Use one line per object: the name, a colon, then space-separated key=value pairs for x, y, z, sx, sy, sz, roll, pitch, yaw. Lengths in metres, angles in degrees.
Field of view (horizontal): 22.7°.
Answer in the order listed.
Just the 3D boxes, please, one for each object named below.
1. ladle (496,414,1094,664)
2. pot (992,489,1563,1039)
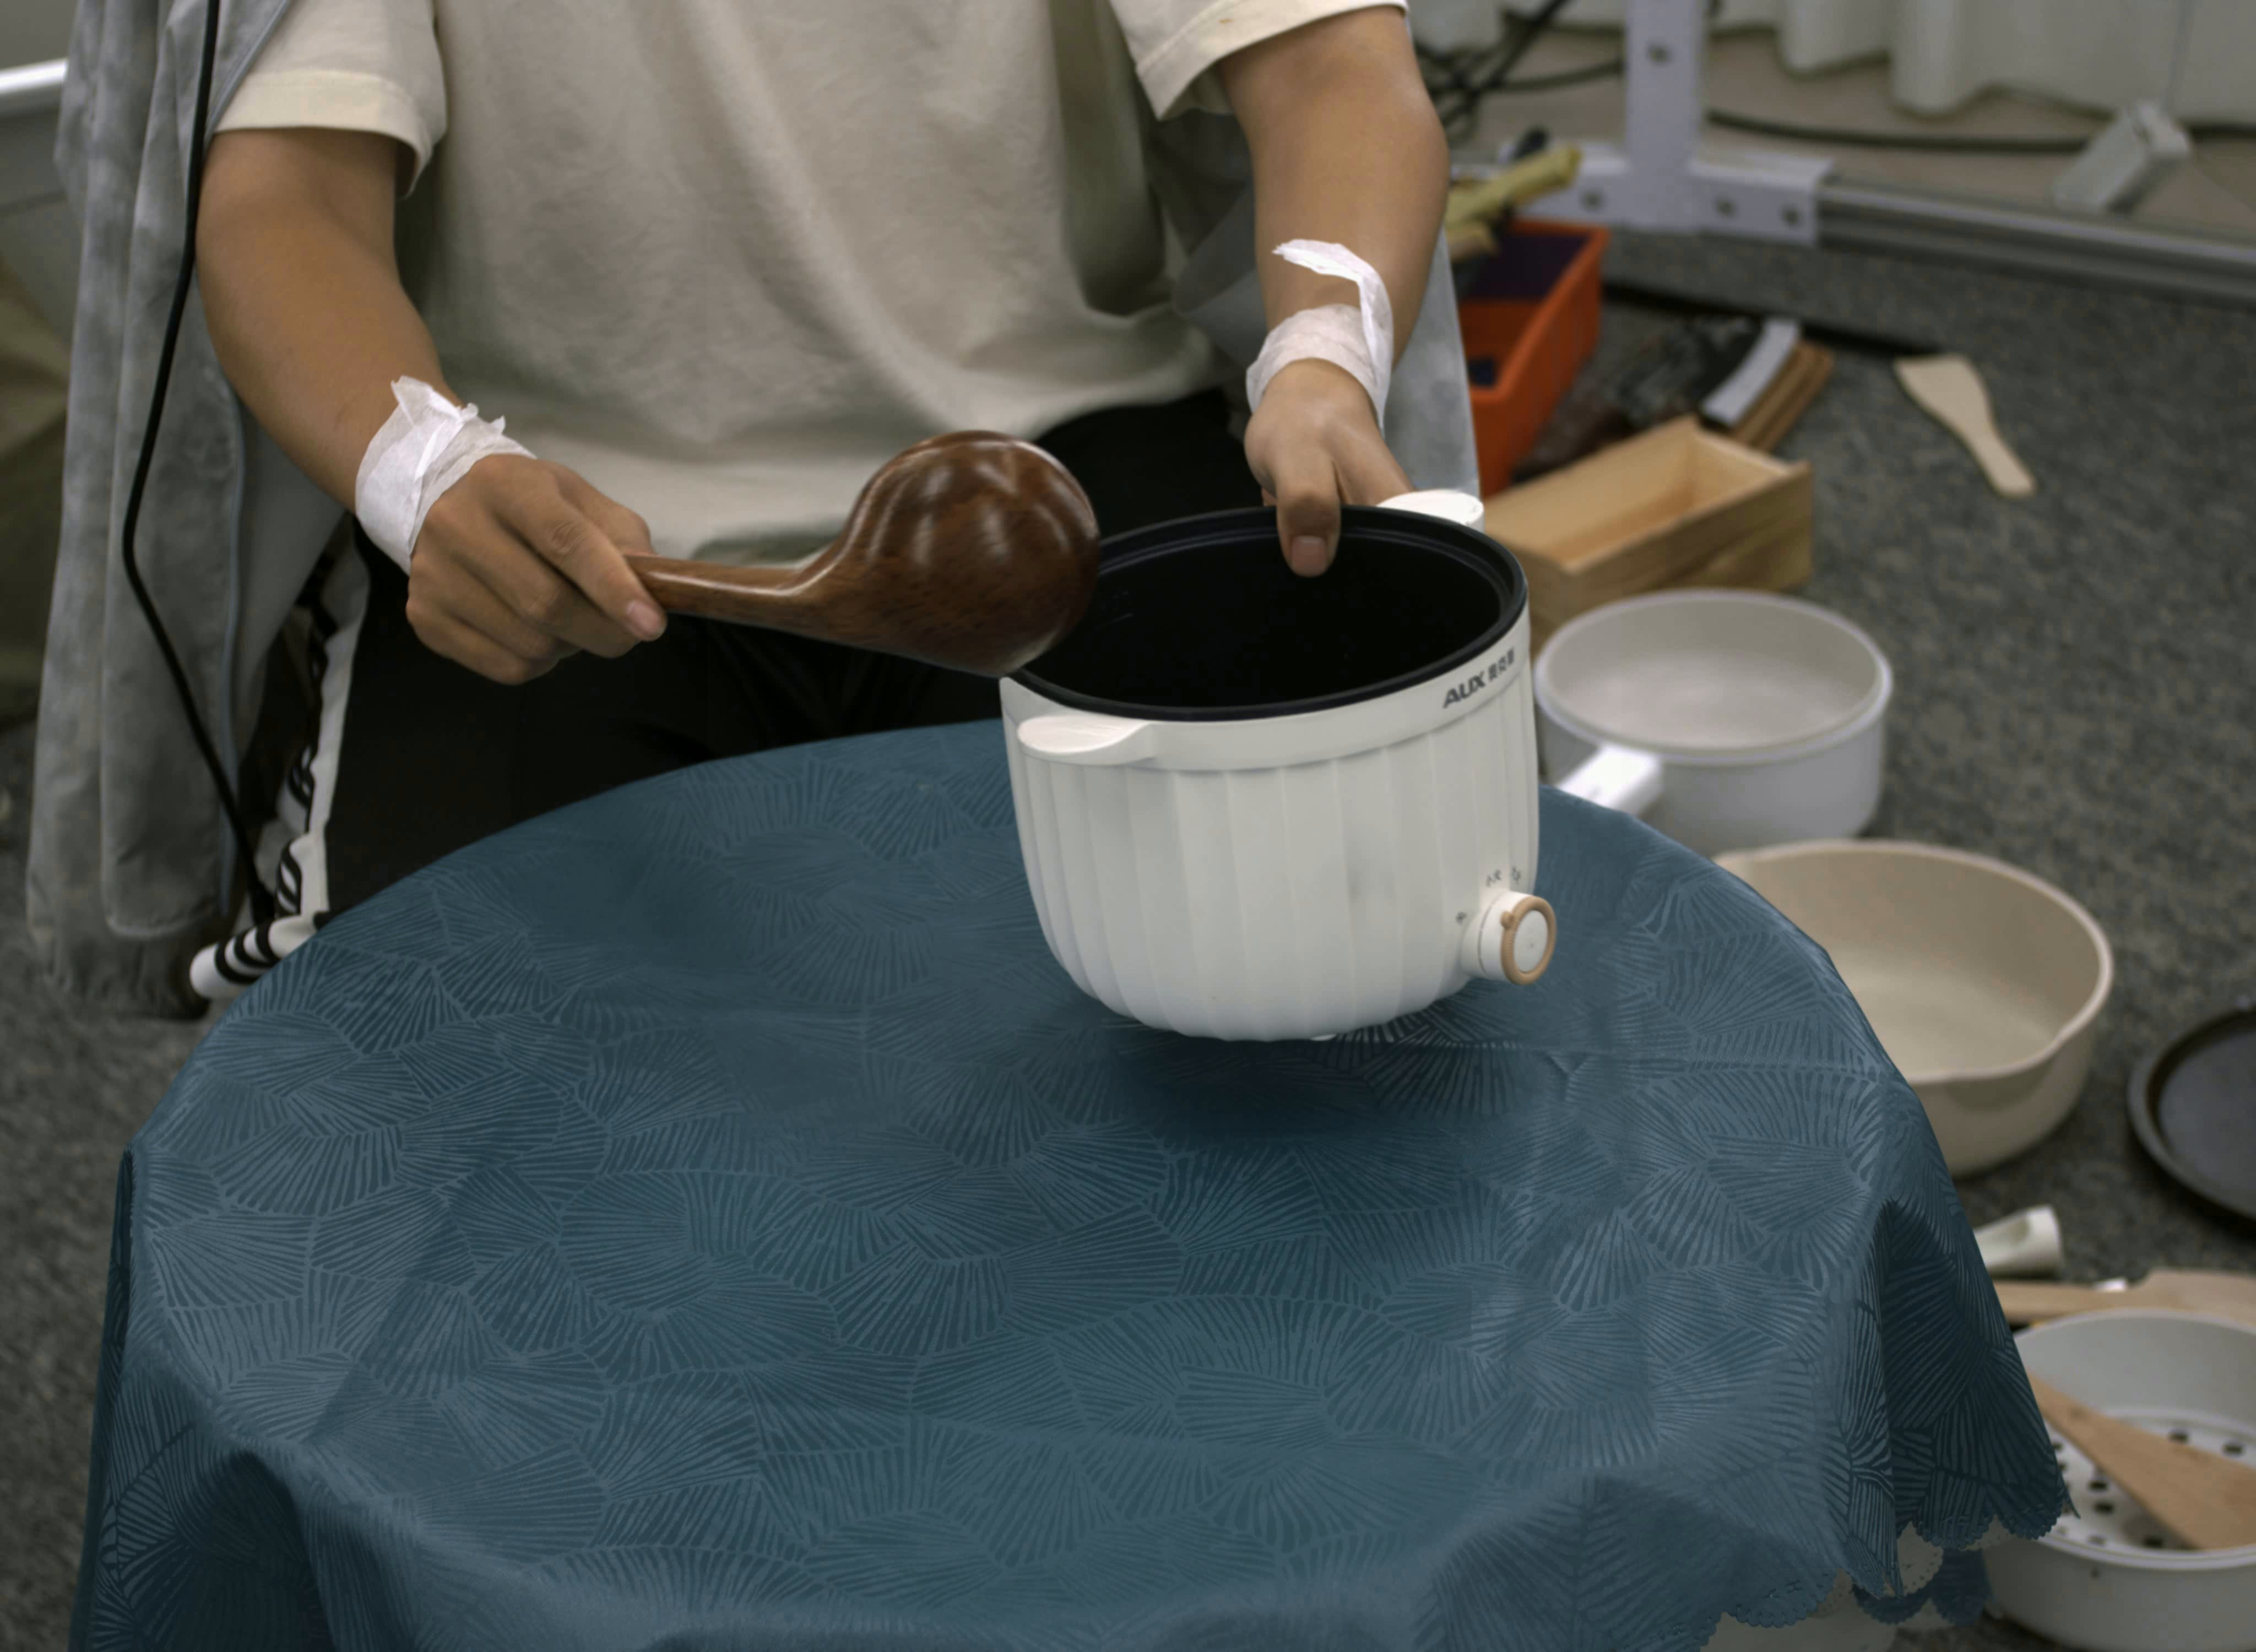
ladle: x=-0.114 y=-0.093 z=1.868 sx=0.077 sy=0.081 sz=0.272 roll=-35 pitch=21 yaw=-30
pot: x=0.056 y=-0.015 z=1.907 sx=0.189 sy=0.141 sz=0.244 roll=7 pitch=27 yaw=37
